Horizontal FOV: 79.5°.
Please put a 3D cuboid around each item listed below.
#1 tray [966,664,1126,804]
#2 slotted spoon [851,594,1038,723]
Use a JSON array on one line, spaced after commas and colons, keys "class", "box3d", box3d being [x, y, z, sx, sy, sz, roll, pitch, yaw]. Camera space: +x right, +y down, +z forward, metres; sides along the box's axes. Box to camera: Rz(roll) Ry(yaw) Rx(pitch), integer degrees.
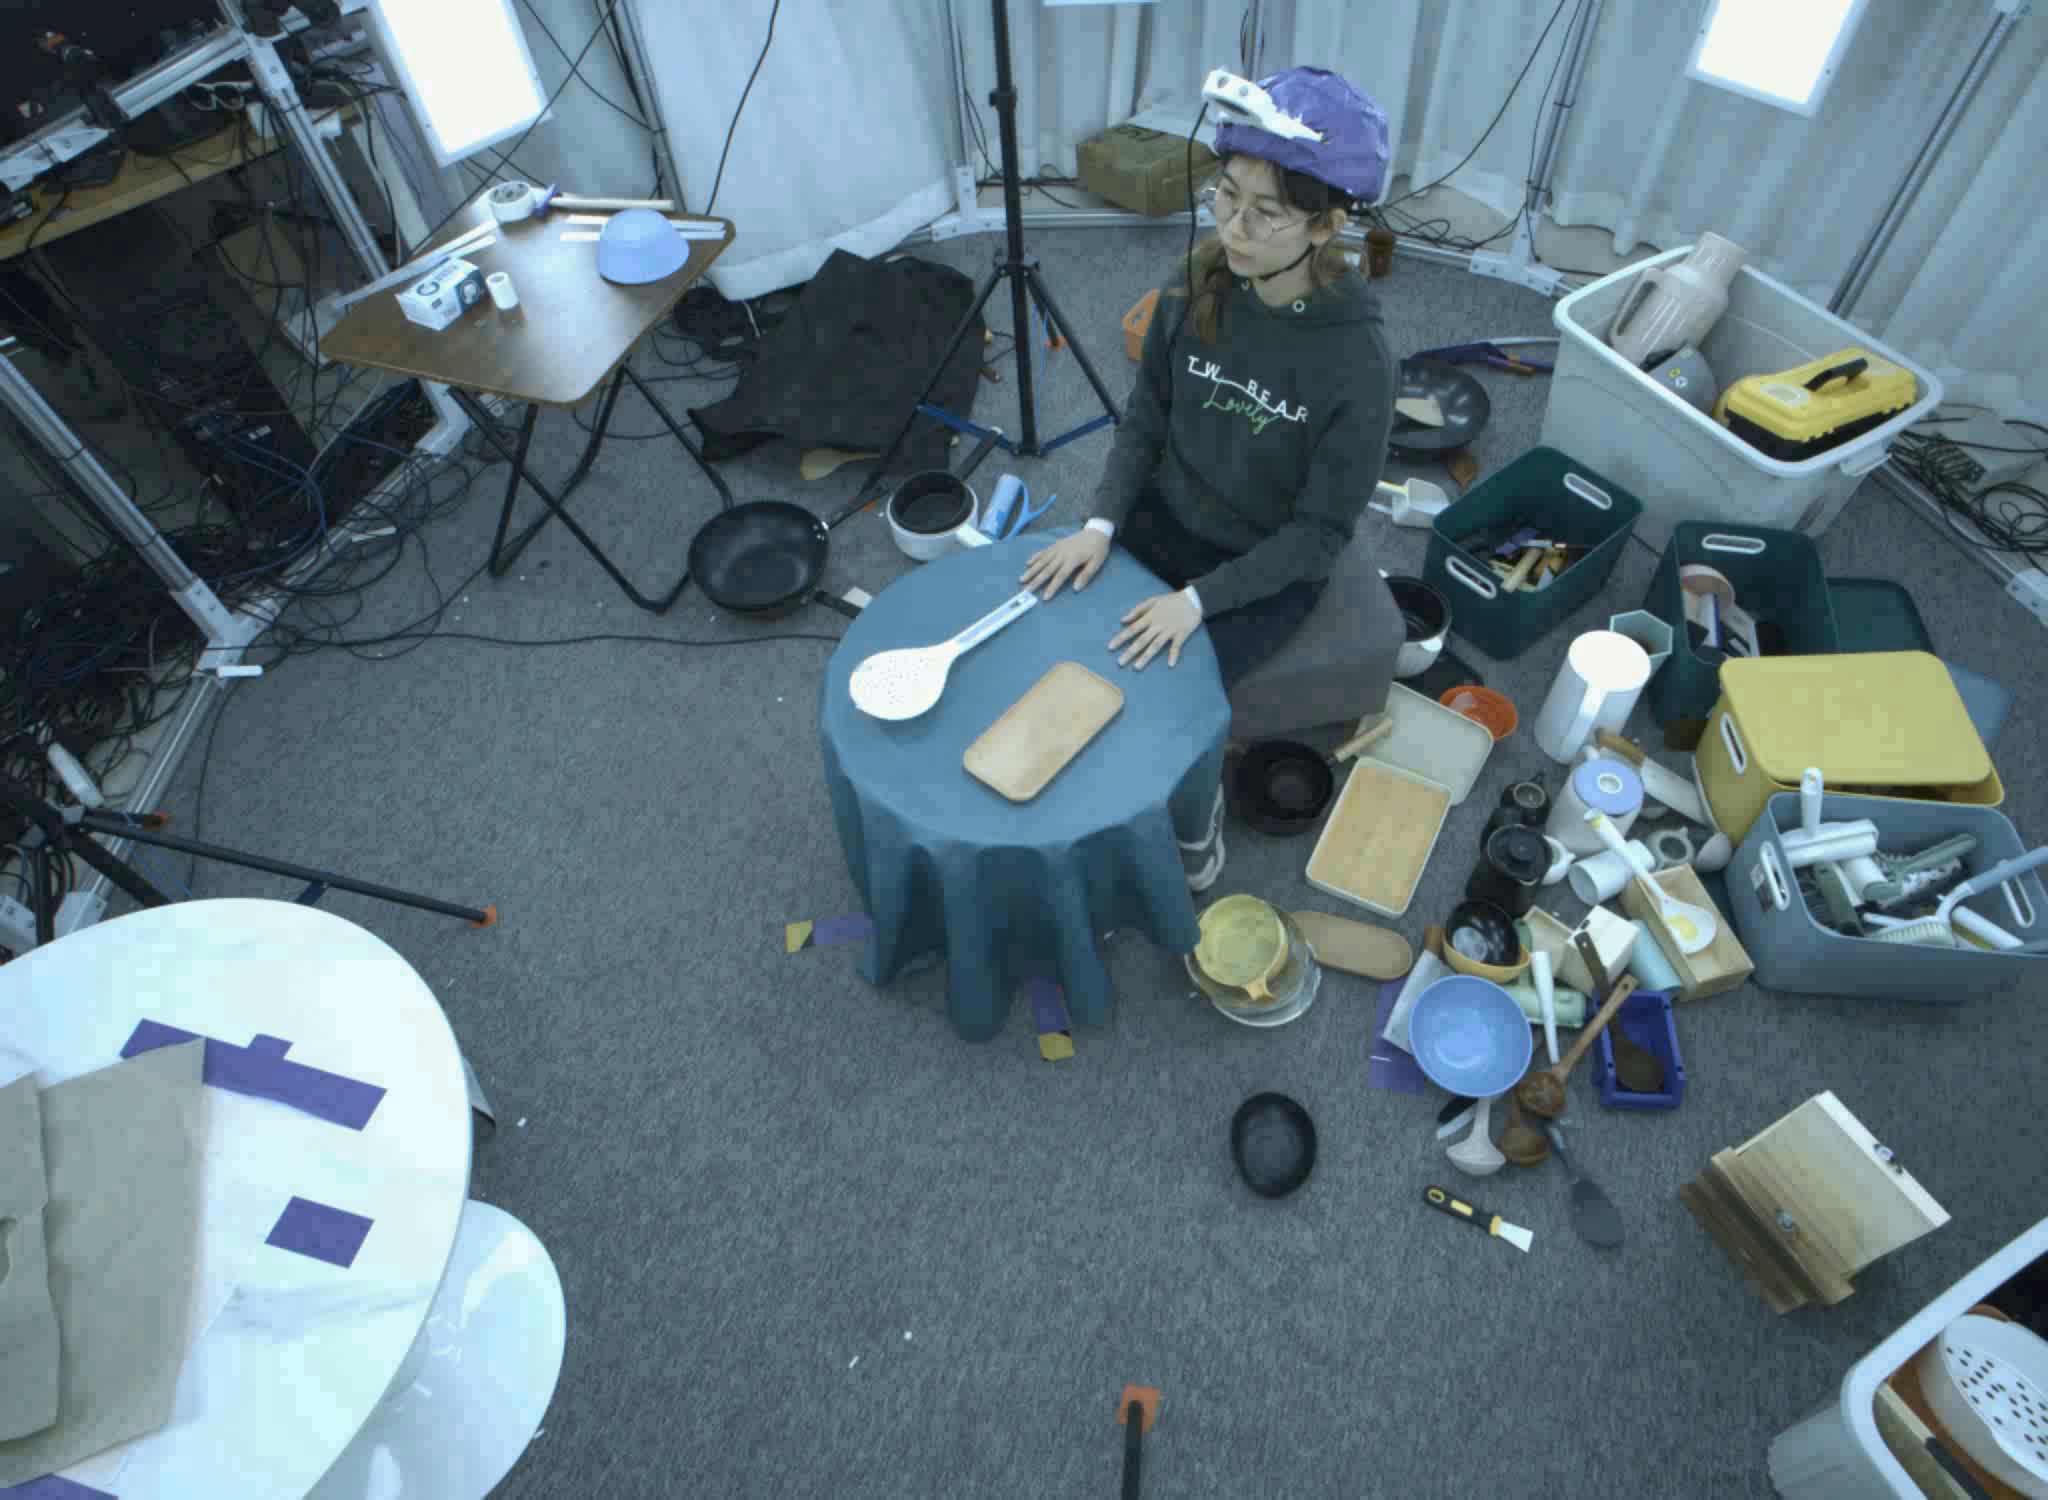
[{"class": "tray", "box3d": [0.034, -0.025, 1.804, 0.128, 0.023, 0.252, 35, 62, 21]}, {"class": "slotted spoon", "box3d": [-0.111, -0.147, 1.877, 0.352, 0.046, 0.134, -39, 65, -24]}]
